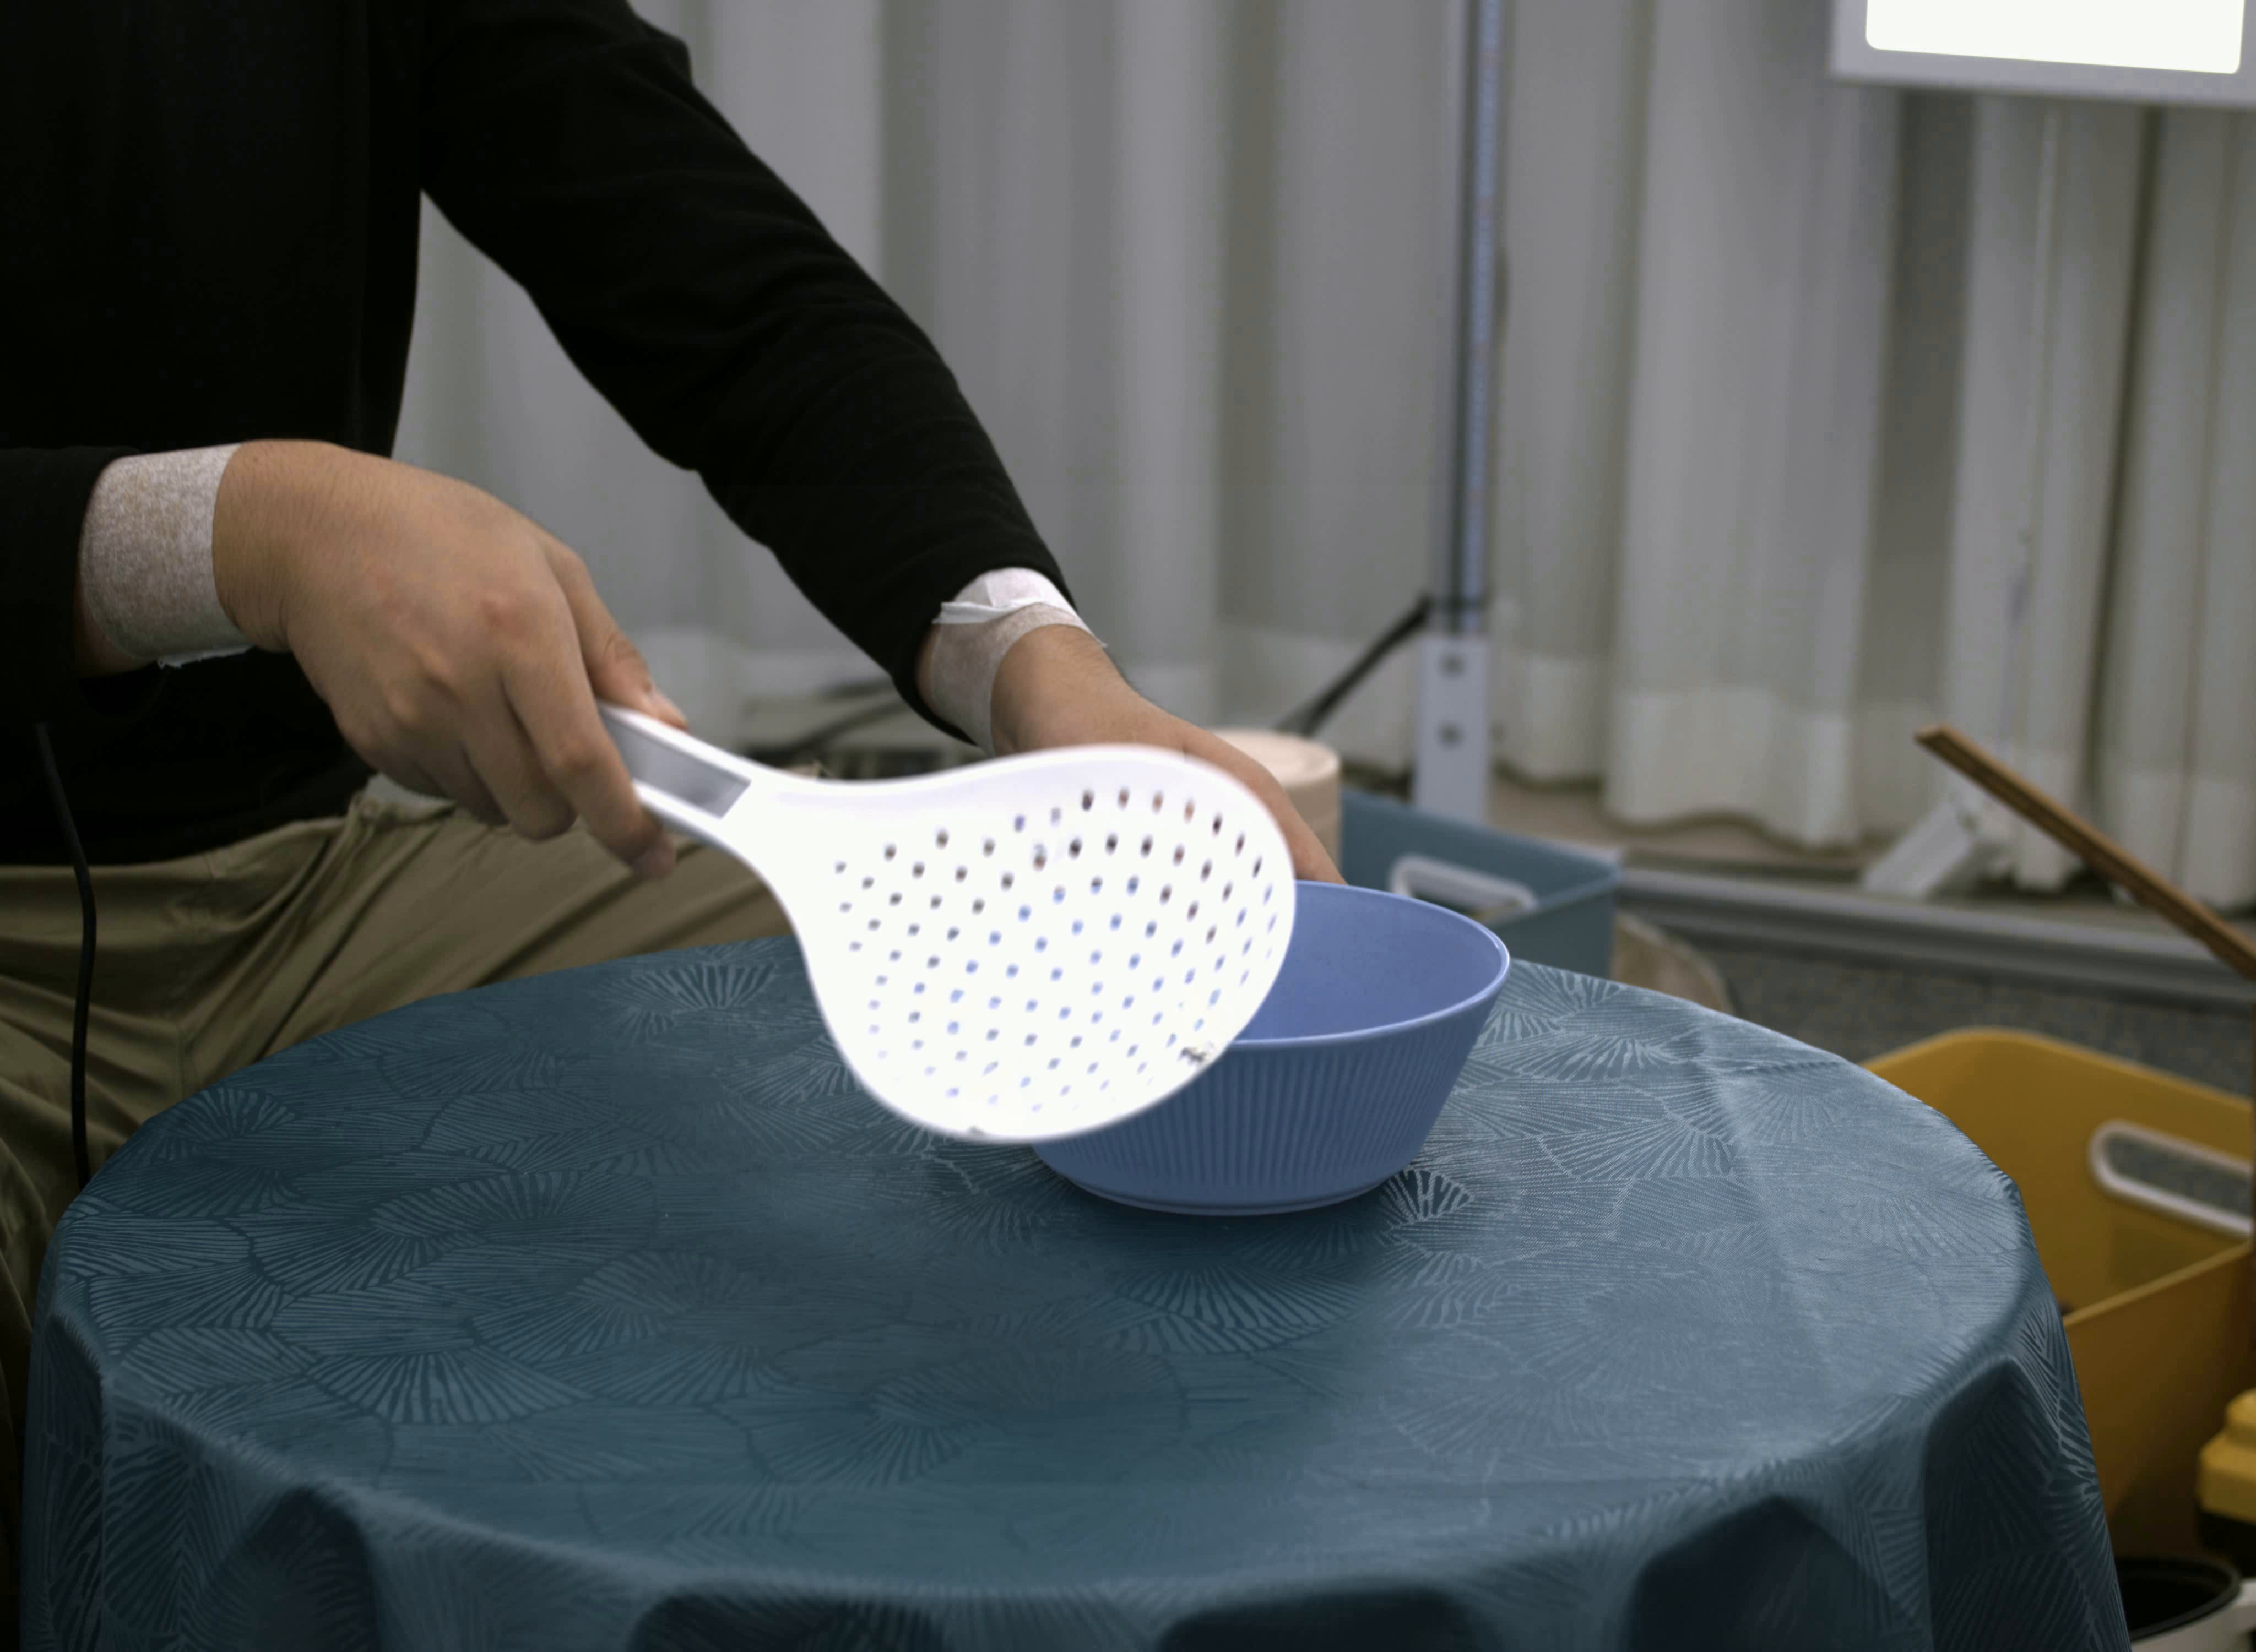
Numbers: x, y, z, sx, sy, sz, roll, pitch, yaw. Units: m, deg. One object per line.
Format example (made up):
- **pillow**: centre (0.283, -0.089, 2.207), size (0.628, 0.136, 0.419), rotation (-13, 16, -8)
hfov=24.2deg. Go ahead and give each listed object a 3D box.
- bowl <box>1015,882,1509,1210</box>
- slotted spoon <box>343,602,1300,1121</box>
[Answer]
- **bowl**: centre (0.031, 0.070, 1.640), size (0.175, 0.071, 0.175), rotation (1, 15, 0)
- **slotted spoon**: centre (-0.099, -0.003, 1.527), size (0.345, 0.046, 0.136), rotation (24, 65, 28)
